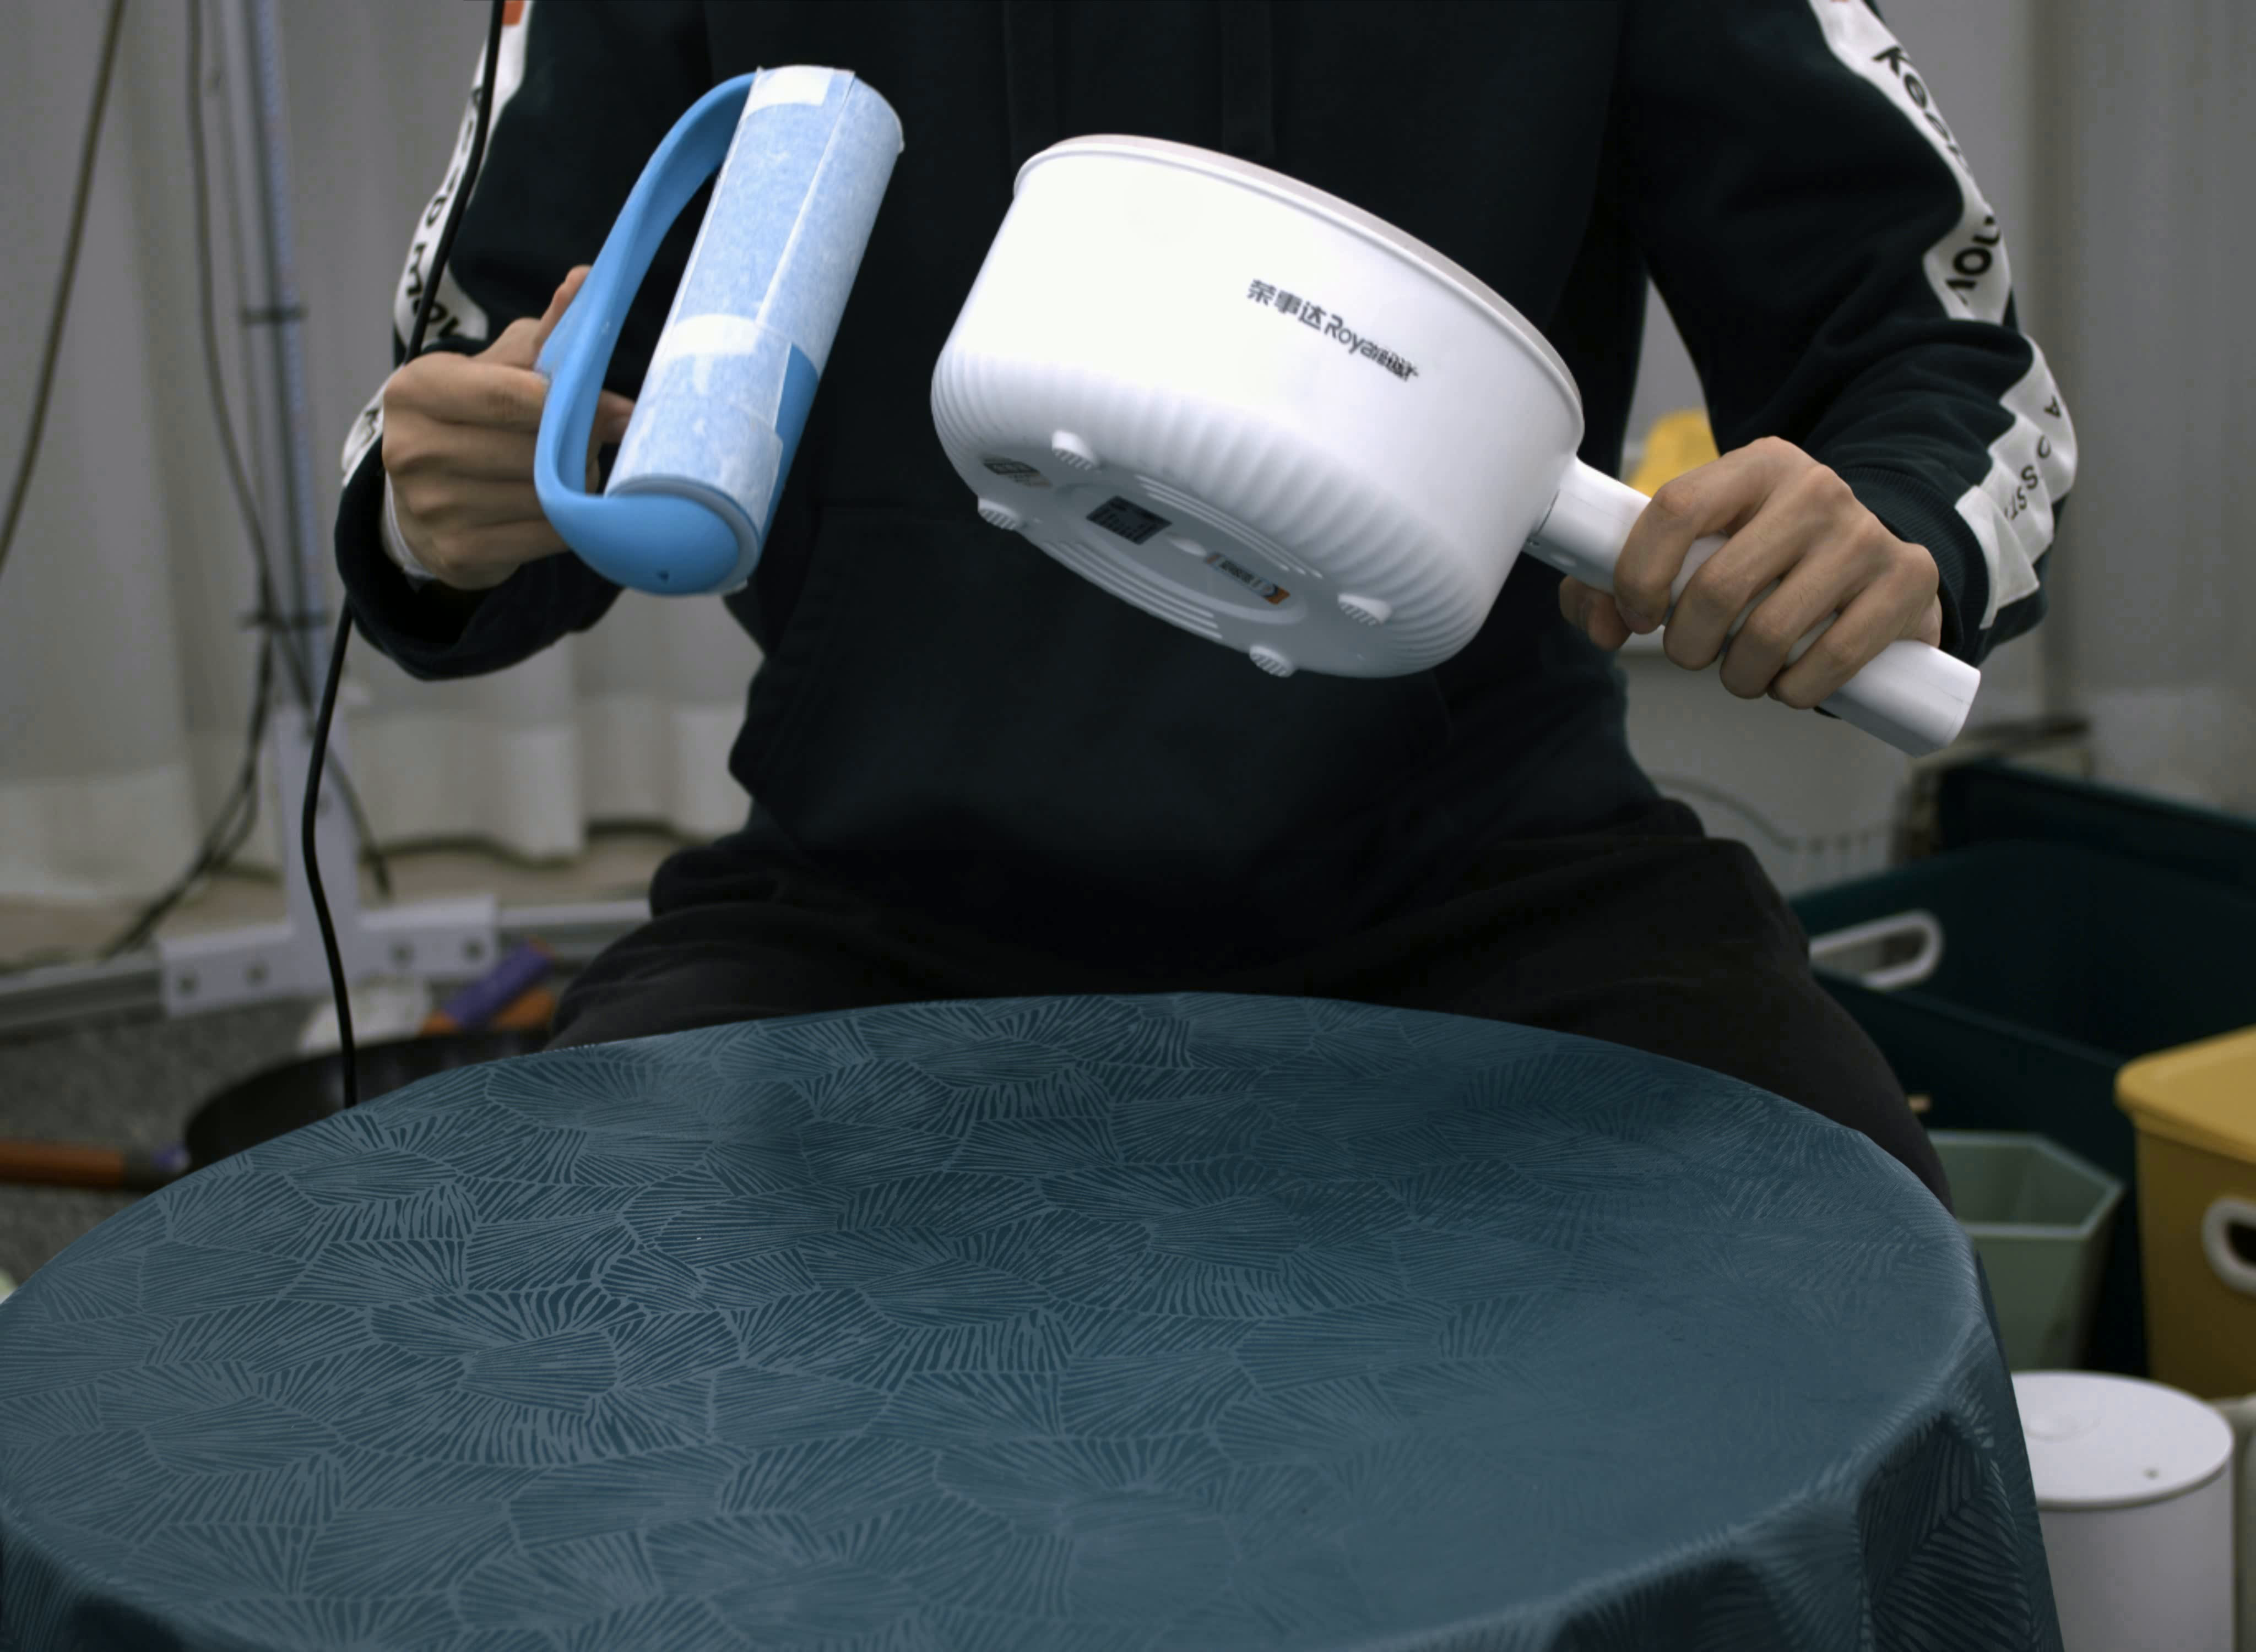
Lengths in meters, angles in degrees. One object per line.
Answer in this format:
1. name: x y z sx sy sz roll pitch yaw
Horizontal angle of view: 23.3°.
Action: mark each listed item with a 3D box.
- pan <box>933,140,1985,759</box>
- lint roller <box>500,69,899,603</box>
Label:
1. pan: 0.103 -0.088 1.764 0.353 0.103 0.201 28 -14 -8
2. lint roller: -0.163 -0.141 1.813 0.179 0.067 0.232 -27 37 36
